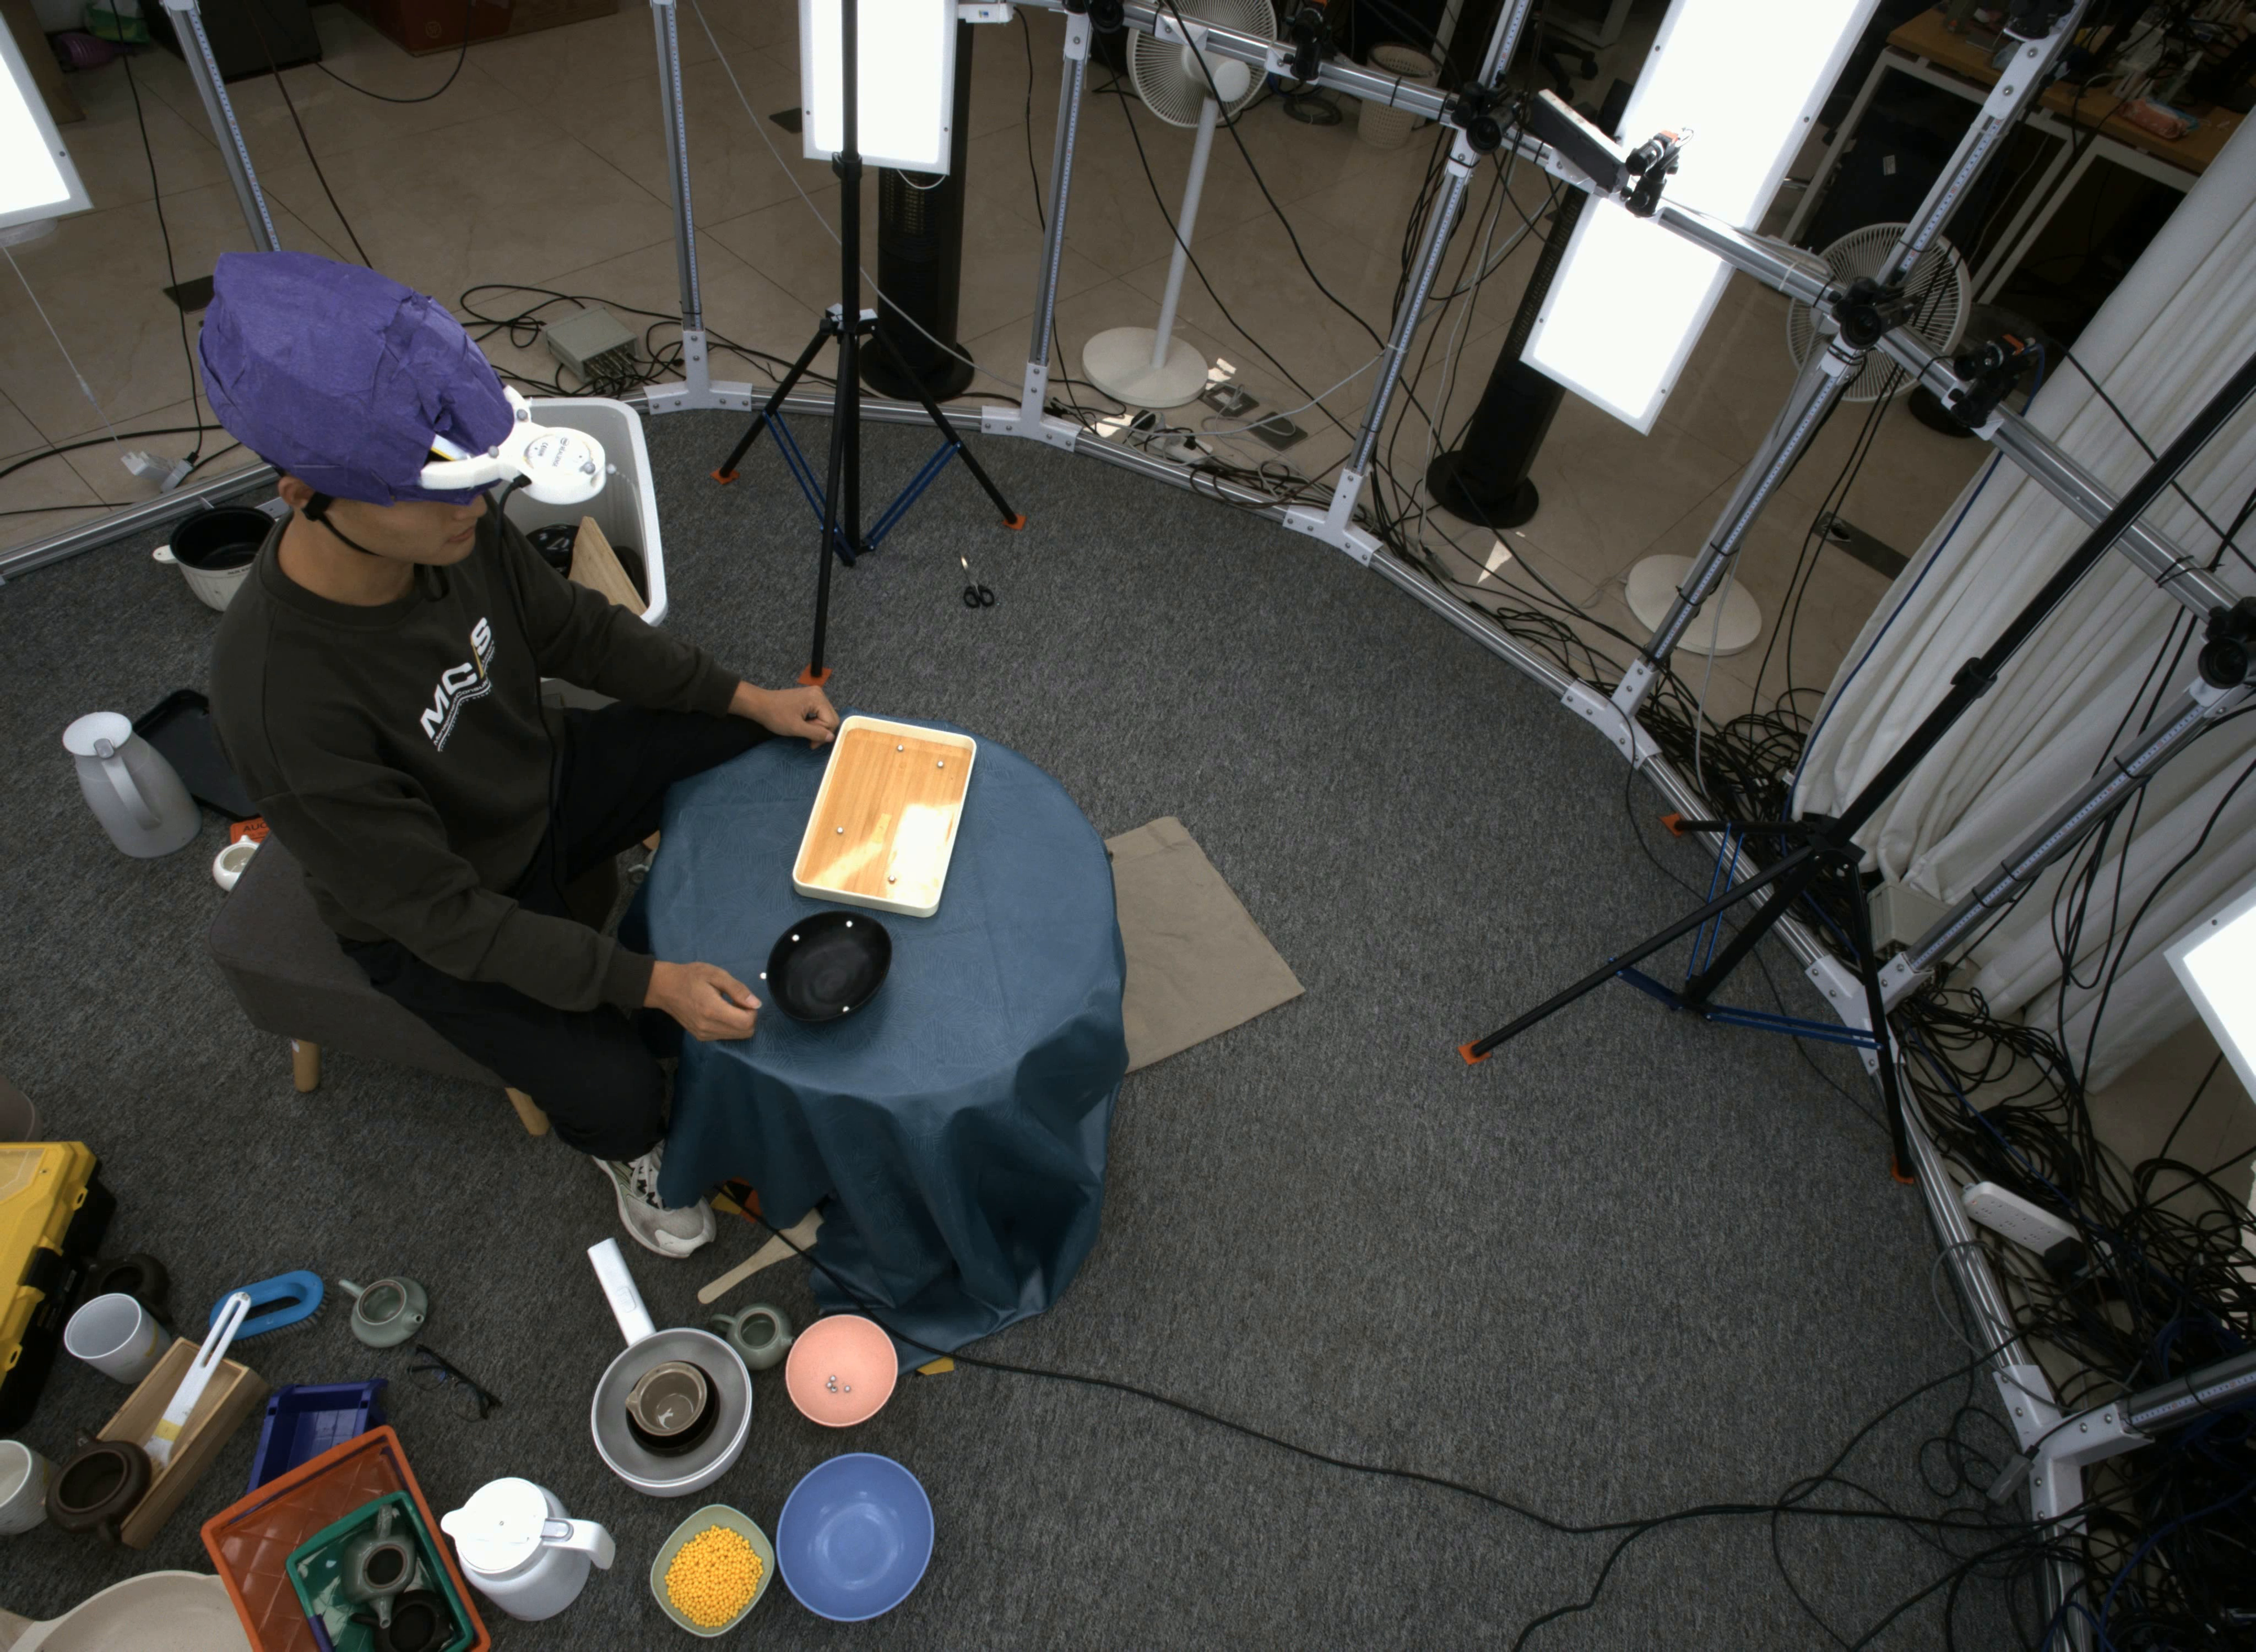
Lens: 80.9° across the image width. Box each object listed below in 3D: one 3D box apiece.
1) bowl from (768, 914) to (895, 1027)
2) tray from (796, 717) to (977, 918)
[{"bbox_3d":[-0.359,0.180,1.577,0.135,0.068,0.169,29,51,8],"label":"bowl"},{"bbox_3d":[-0.321,-0.017,1.756,0.190,0.028,0.295,11,52,-5],"label":"tray"}]
